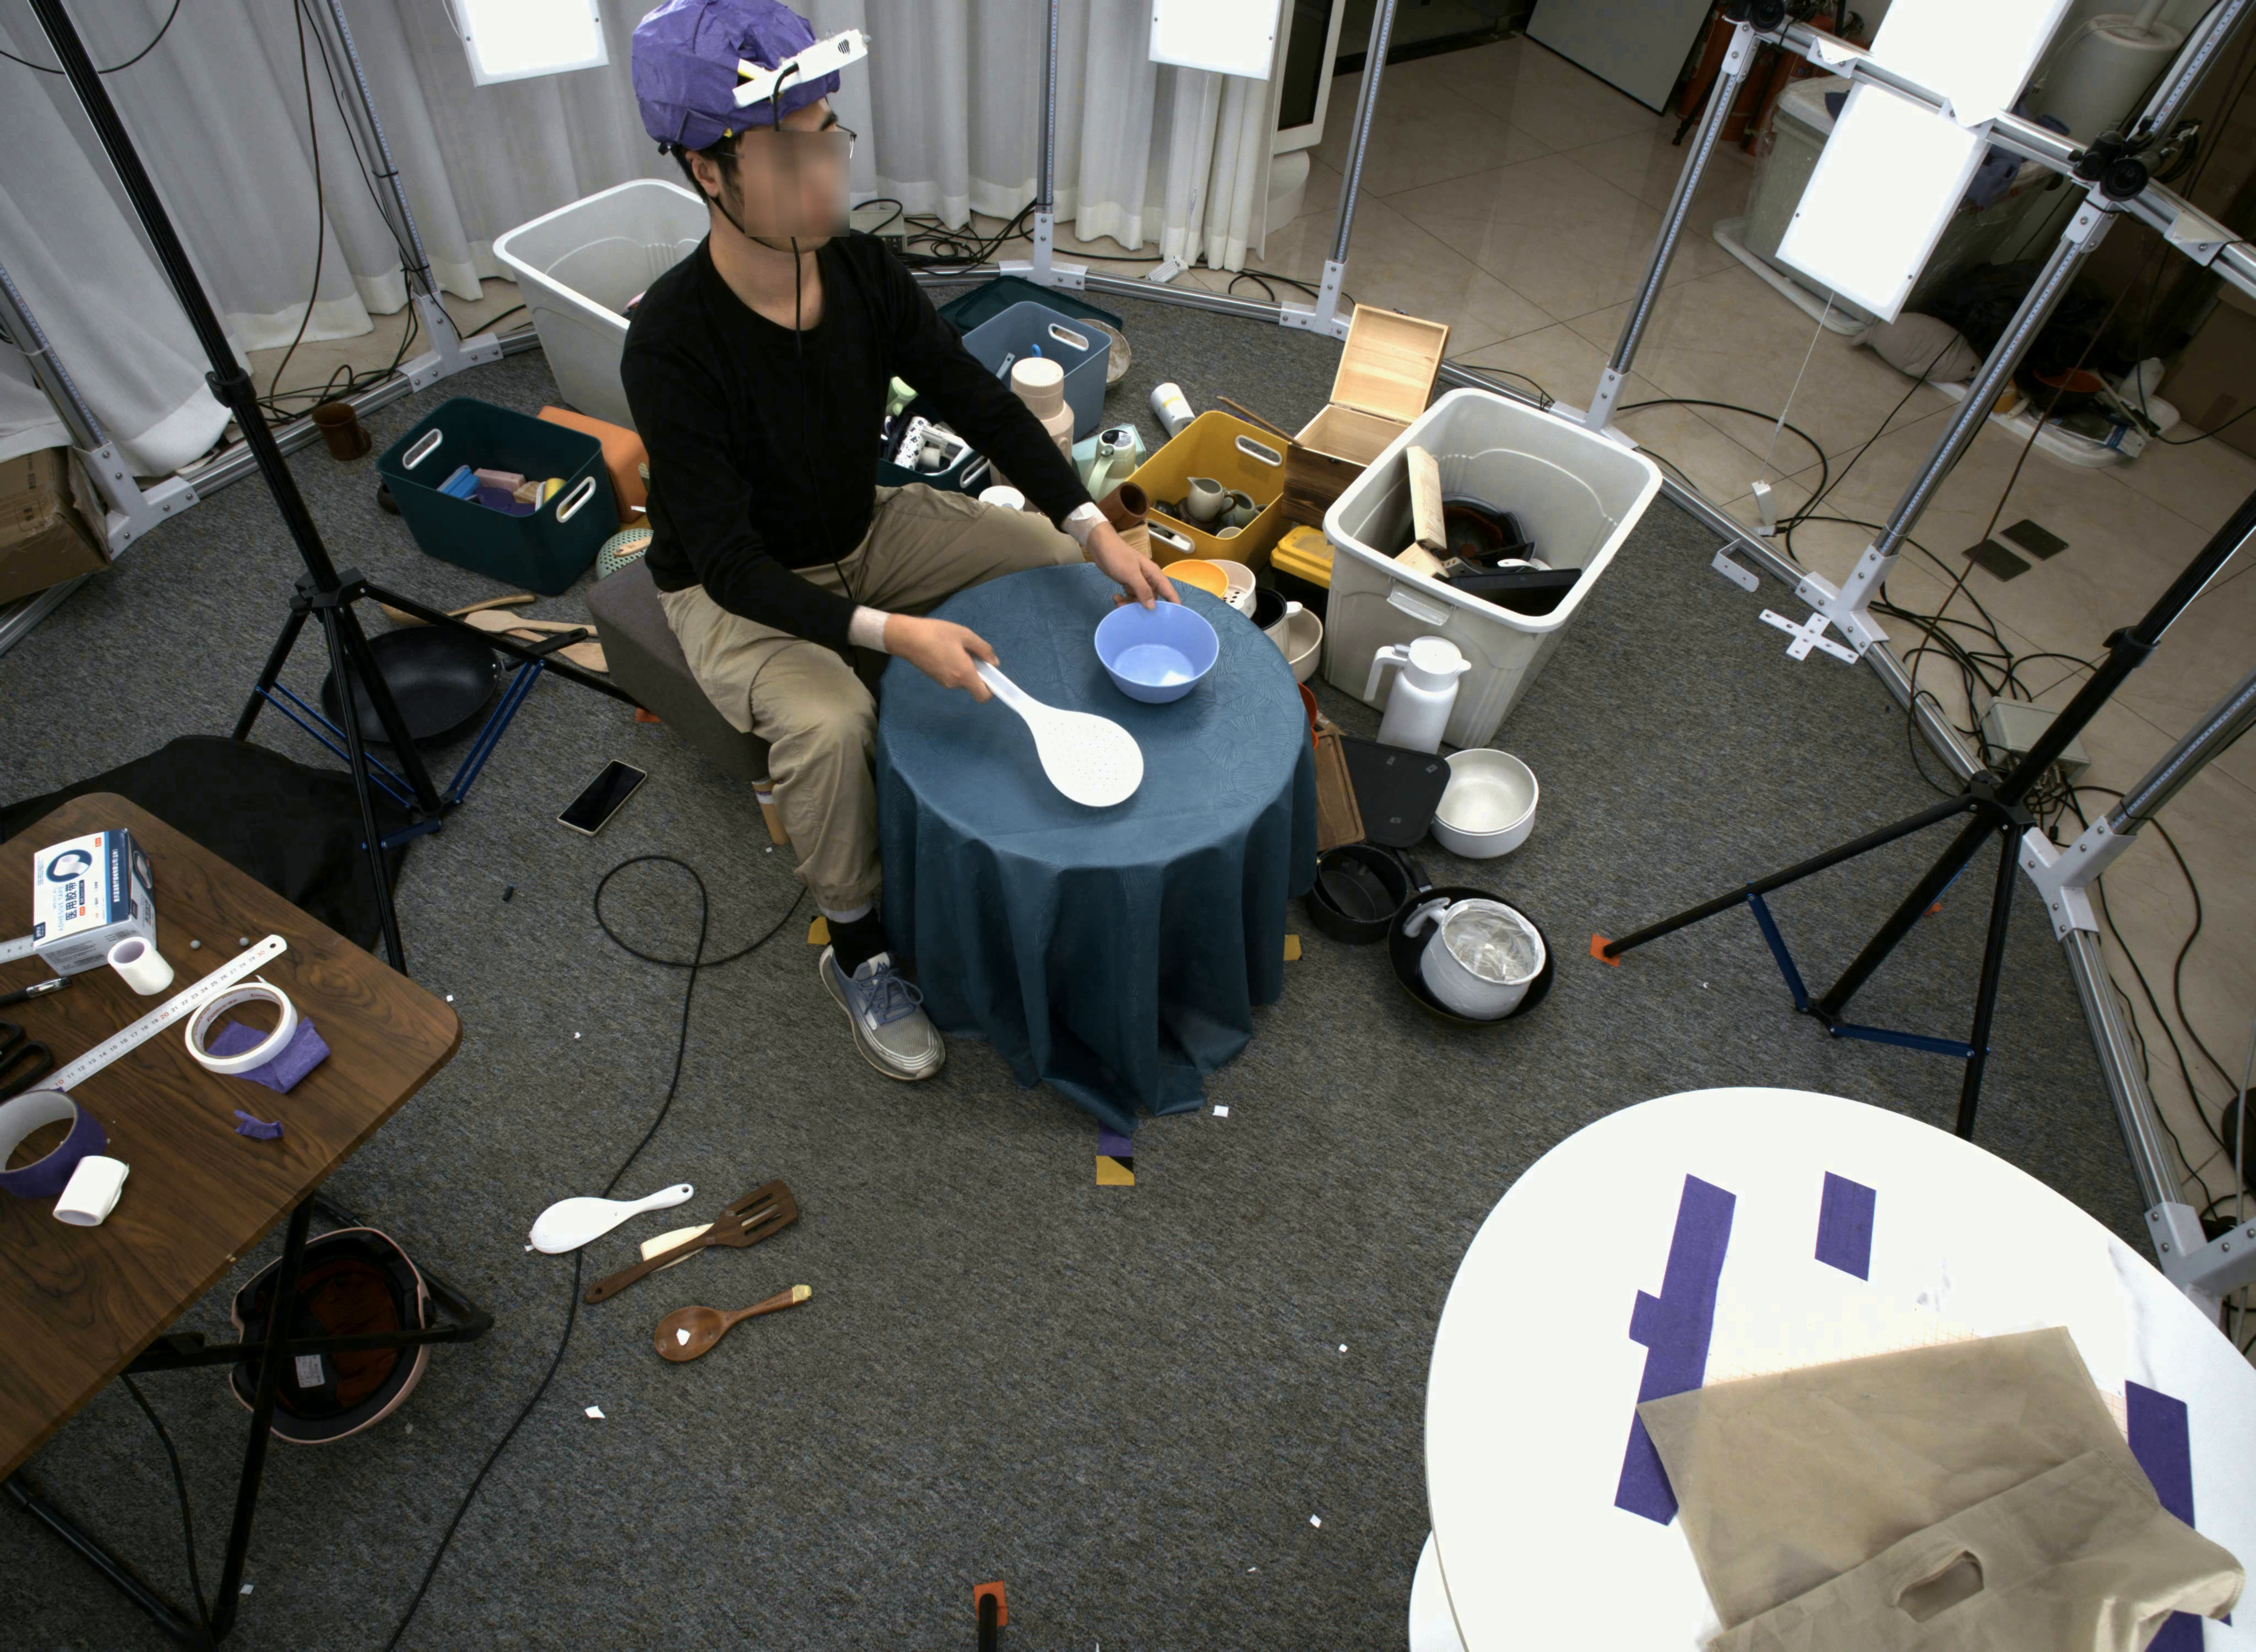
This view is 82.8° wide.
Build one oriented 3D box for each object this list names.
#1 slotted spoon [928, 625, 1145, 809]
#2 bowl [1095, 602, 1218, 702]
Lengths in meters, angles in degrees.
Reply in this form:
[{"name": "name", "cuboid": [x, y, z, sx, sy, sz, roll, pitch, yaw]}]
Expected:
[{"name": "slotted spoon", "cuboid": [-0.129, -0.150, 1.707, 0.350, 0.045, 0.138, 42, 62, 4]}, {"name": "bowl", "cuboid": [0.039, -0.240, 1.835, 0.176, 0.068, 0.180, 2, 48, -2]}]
